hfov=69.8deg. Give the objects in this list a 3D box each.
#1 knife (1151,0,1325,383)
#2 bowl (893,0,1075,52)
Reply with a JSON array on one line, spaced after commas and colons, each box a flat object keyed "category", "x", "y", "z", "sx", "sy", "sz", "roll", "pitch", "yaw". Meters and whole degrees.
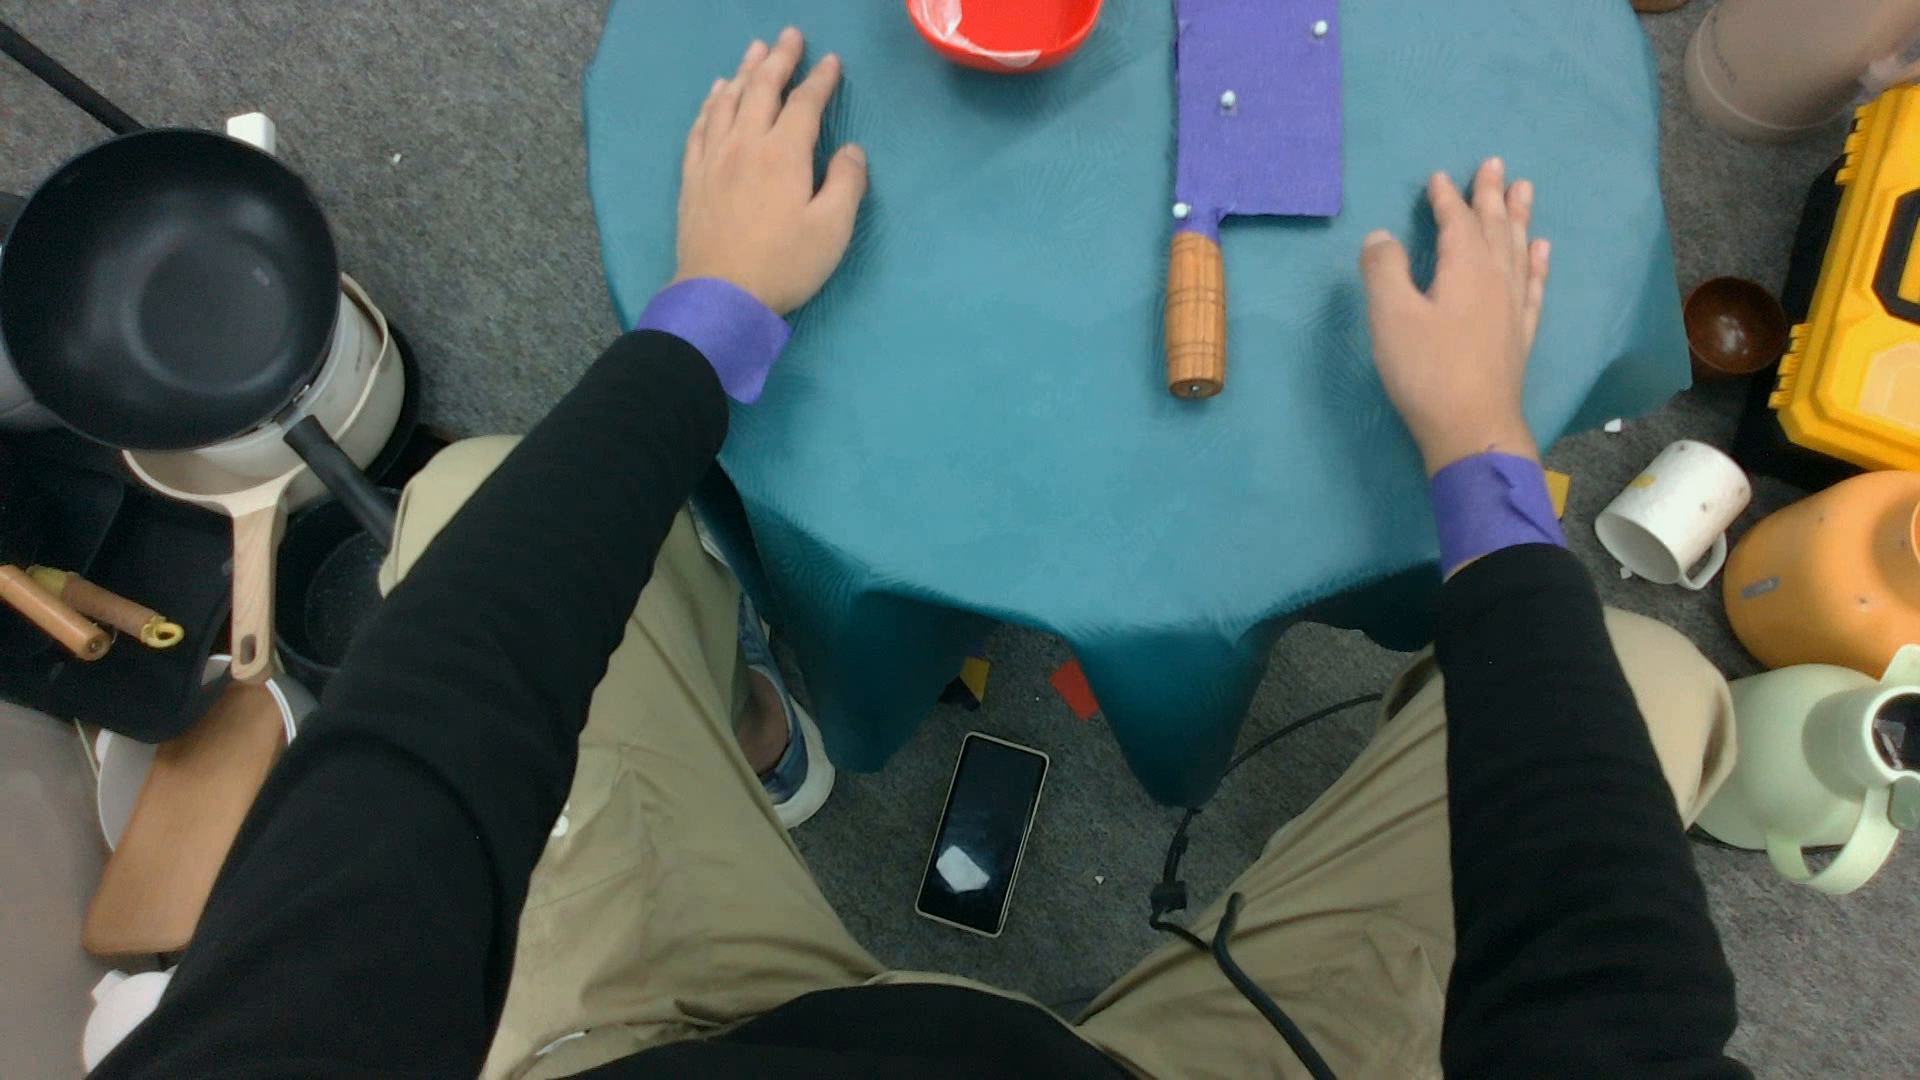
[{"category": "knife", "x": 0.151, "y": -0.238, "z": 0.758, "sx": 0.104, "sy": 0.032, "sz": 0.316, "roll": 0, "pitch": 76, "yaw": 2}, {"category": "bowl", "x": 0.014, "y": -0.314, "z": 0.764, "sx": 0.119, "sy": 0.051, "sz": 0.119, "roll": 0, "pitch": 74, "yaw": 0}]
